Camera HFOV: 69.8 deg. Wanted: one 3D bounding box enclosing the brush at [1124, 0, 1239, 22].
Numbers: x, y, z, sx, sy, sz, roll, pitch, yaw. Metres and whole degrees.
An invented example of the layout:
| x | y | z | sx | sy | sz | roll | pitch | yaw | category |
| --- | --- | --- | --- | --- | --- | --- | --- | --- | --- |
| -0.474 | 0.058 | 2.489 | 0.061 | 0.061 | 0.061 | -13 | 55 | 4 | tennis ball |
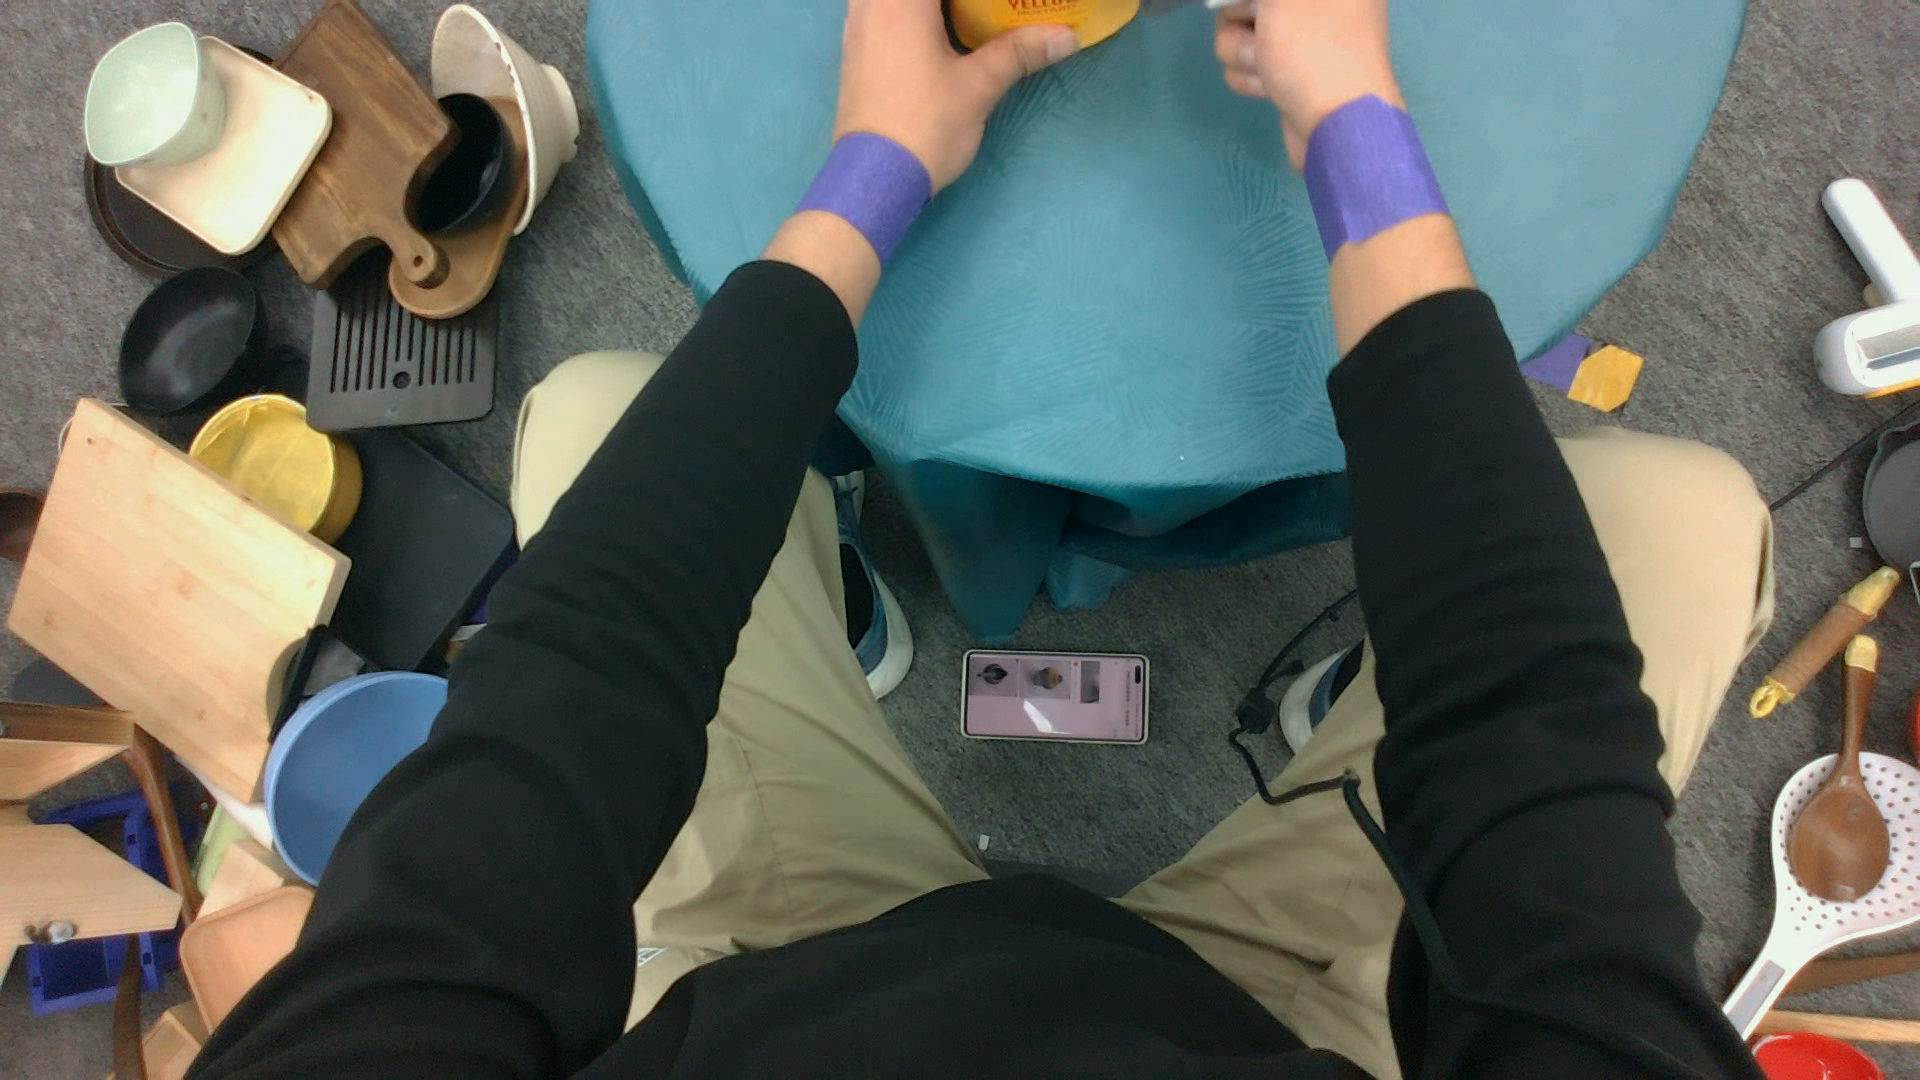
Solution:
| x | y | z | sx | sy | sz | roll | pitch | yaw | category |
| --- | --- | --- | --- | --- | --- | --- | --- | --- | --- |
| 0.107 | -0.287 | 0.629 | 0.072 | 0.050 | 0.099 | -9 | 69 | -2 | brush |

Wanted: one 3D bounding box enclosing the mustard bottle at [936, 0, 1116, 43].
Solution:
| x | y | z | sx | sy | sz | roll | pitch | yaw | category |
| --- | --- | --- | --- | --- | --- | --- | --- | --- | --- |
| 0.029 | -0.291 | 0.636 | 0.098 | 0.172 | 0.059 | -11 | 87 | 3 | mustard bottle |
